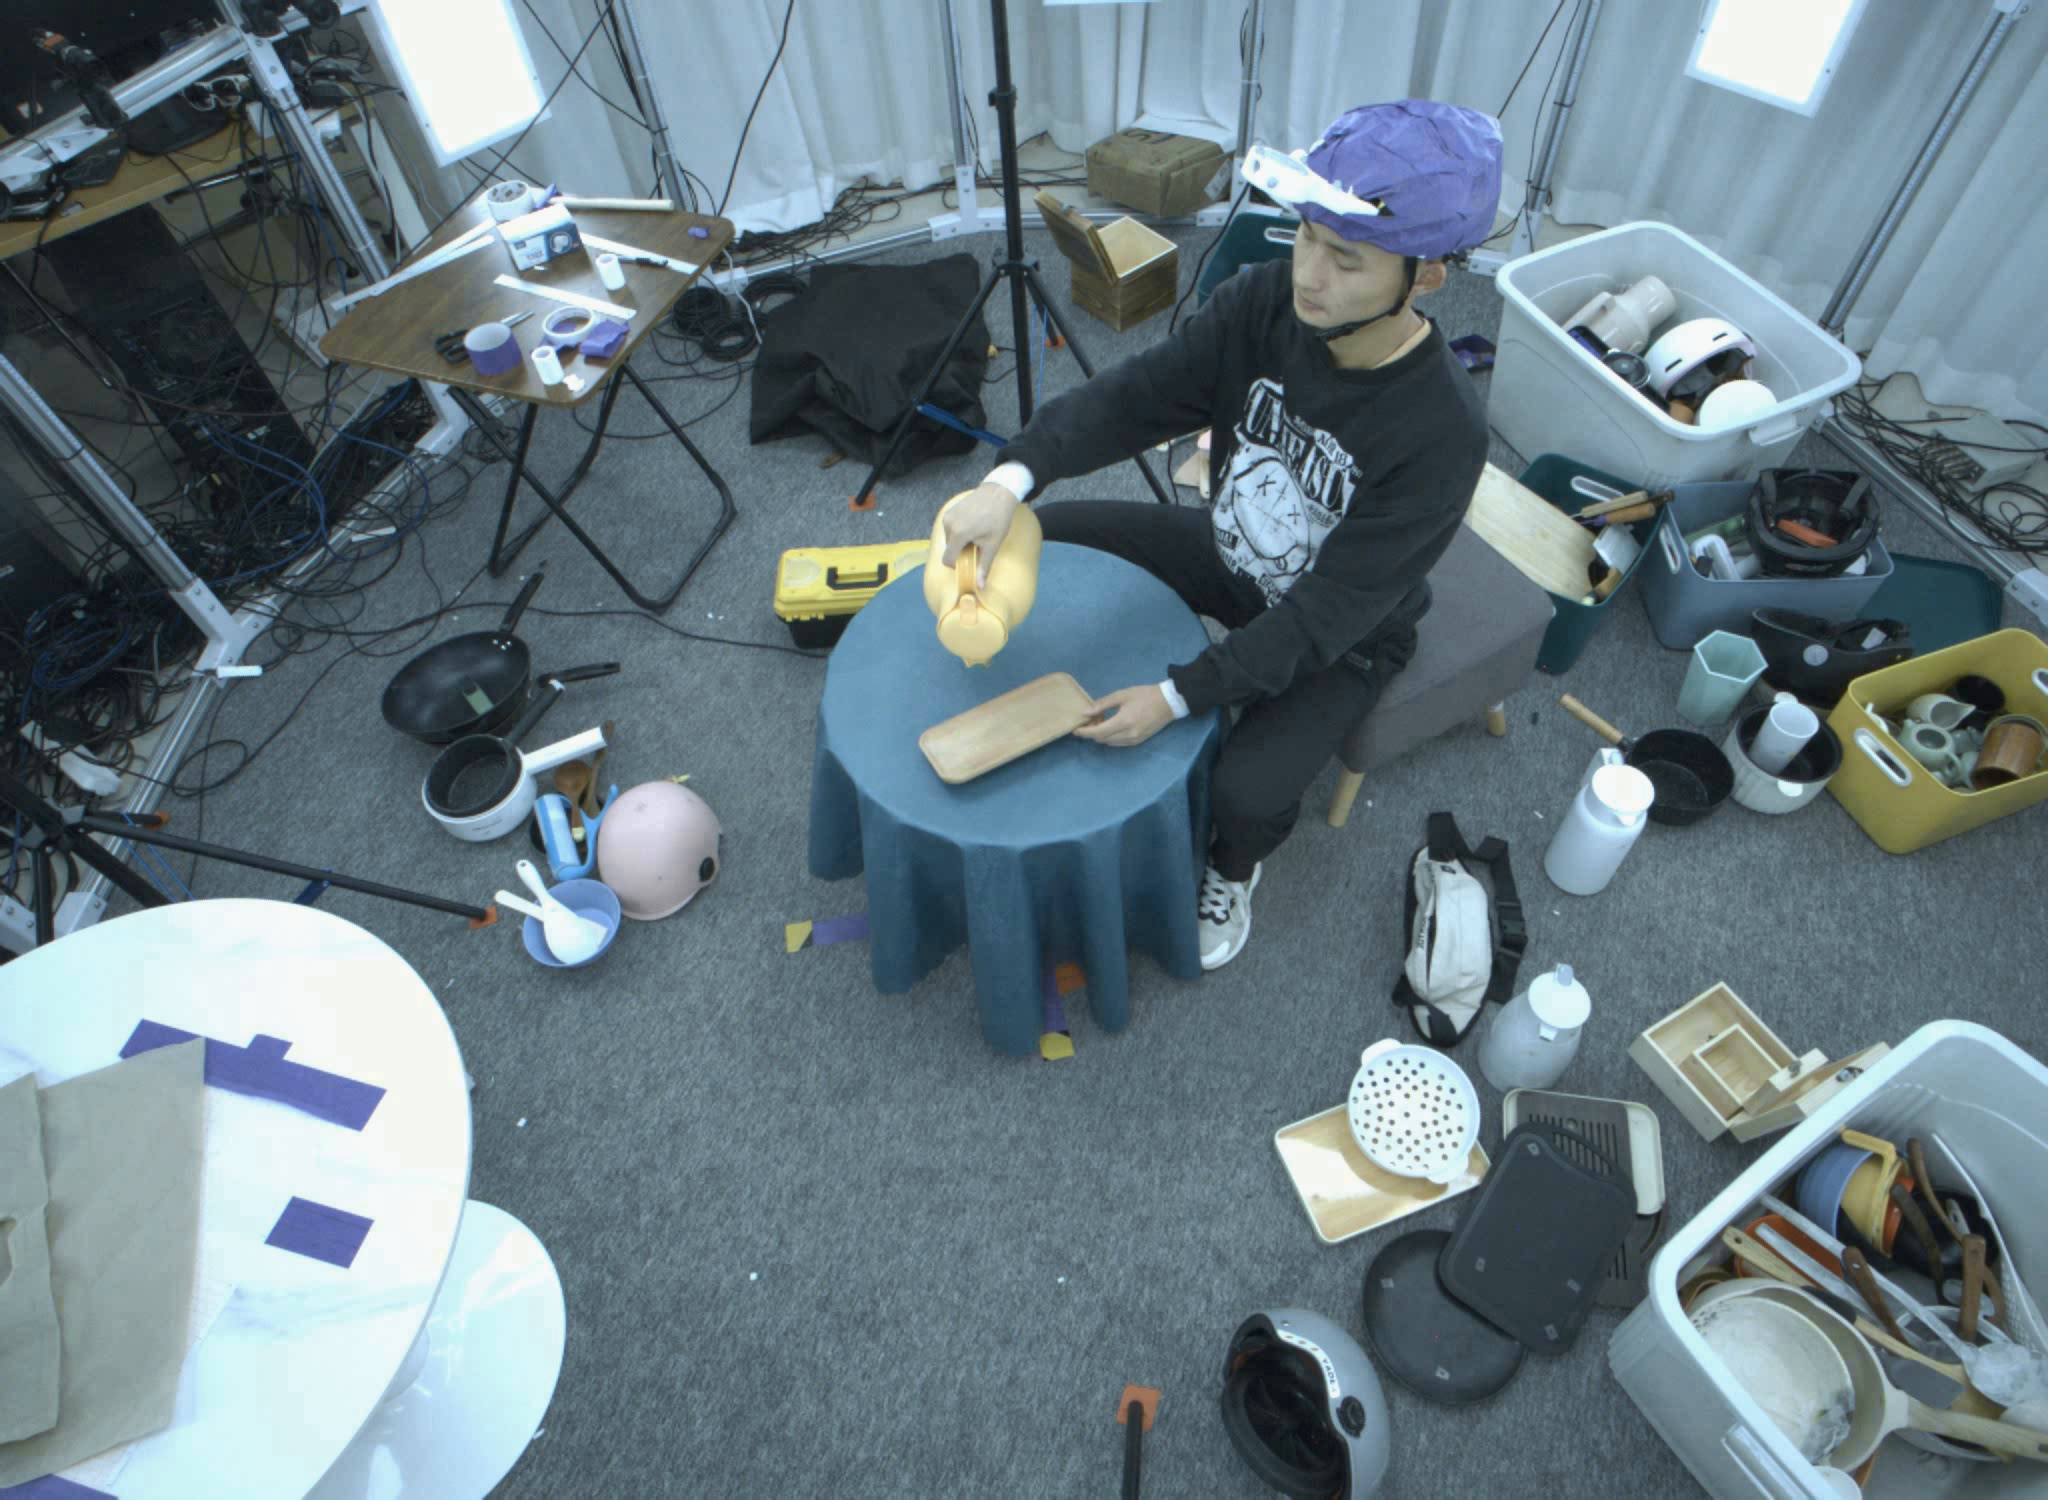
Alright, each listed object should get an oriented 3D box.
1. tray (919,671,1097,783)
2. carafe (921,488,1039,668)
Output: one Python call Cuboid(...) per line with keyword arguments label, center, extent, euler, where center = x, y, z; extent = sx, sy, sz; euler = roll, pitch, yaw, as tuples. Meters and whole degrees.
Cuboid(label="tray", center=(-0.023, -0.034, 1.779), extent=(0.252, 0.023, 0.128), euler=(-24, 46, -13))
Cuboid(label="carafe", center=(-0.064, -0.256, 1.721), extent=(0.163, 0.204, 0.257), euler=(0, 48, 1))
